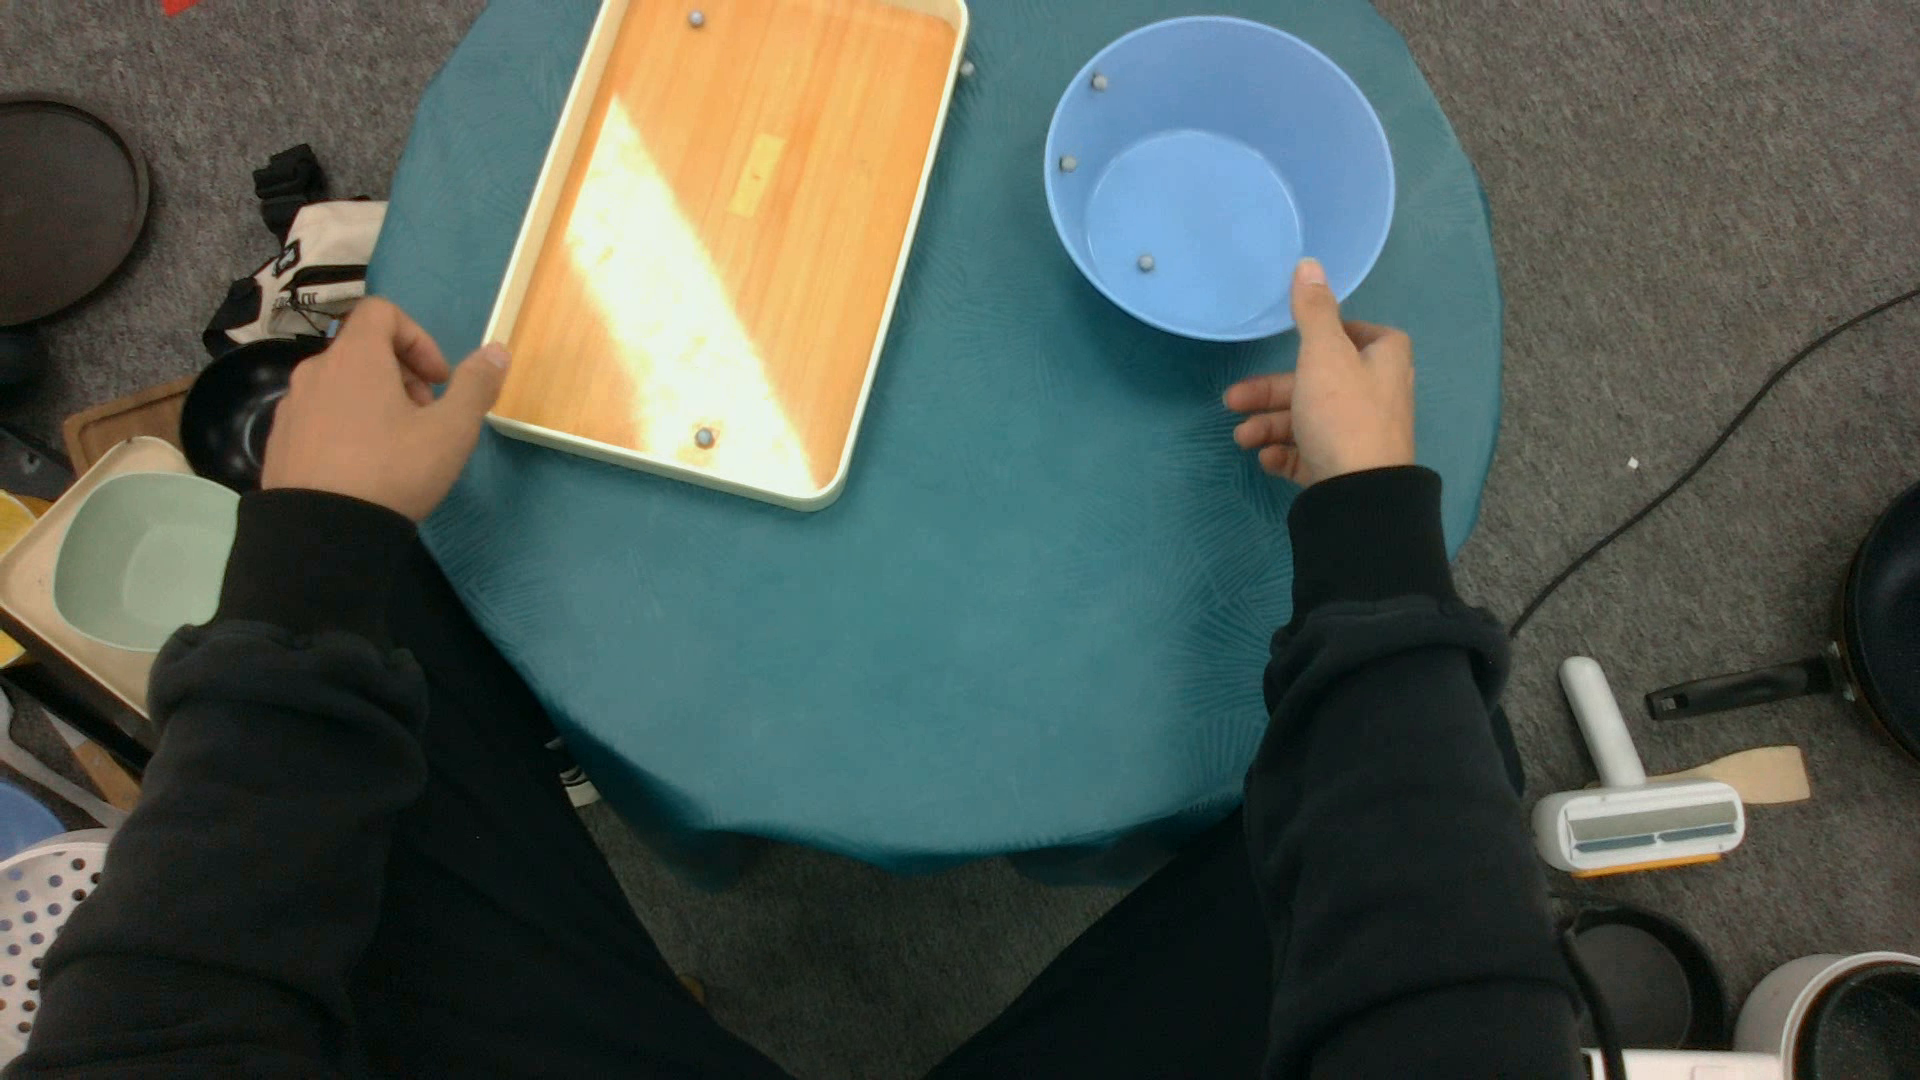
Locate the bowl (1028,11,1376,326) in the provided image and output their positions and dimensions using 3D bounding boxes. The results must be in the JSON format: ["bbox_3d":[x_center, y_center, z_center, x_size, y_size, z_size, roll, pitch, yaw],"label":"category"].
[{"bbox_3d":[0.120,-0.181,0.718,0.176,0.070,0.176,1,75,-3],"label":"bowl"}]

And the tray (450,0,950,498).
[{"bbox_3d":[-0.129,-0.182,0.723,0.191,0.027,0.301,14,75,0],"label":"tray"}]
